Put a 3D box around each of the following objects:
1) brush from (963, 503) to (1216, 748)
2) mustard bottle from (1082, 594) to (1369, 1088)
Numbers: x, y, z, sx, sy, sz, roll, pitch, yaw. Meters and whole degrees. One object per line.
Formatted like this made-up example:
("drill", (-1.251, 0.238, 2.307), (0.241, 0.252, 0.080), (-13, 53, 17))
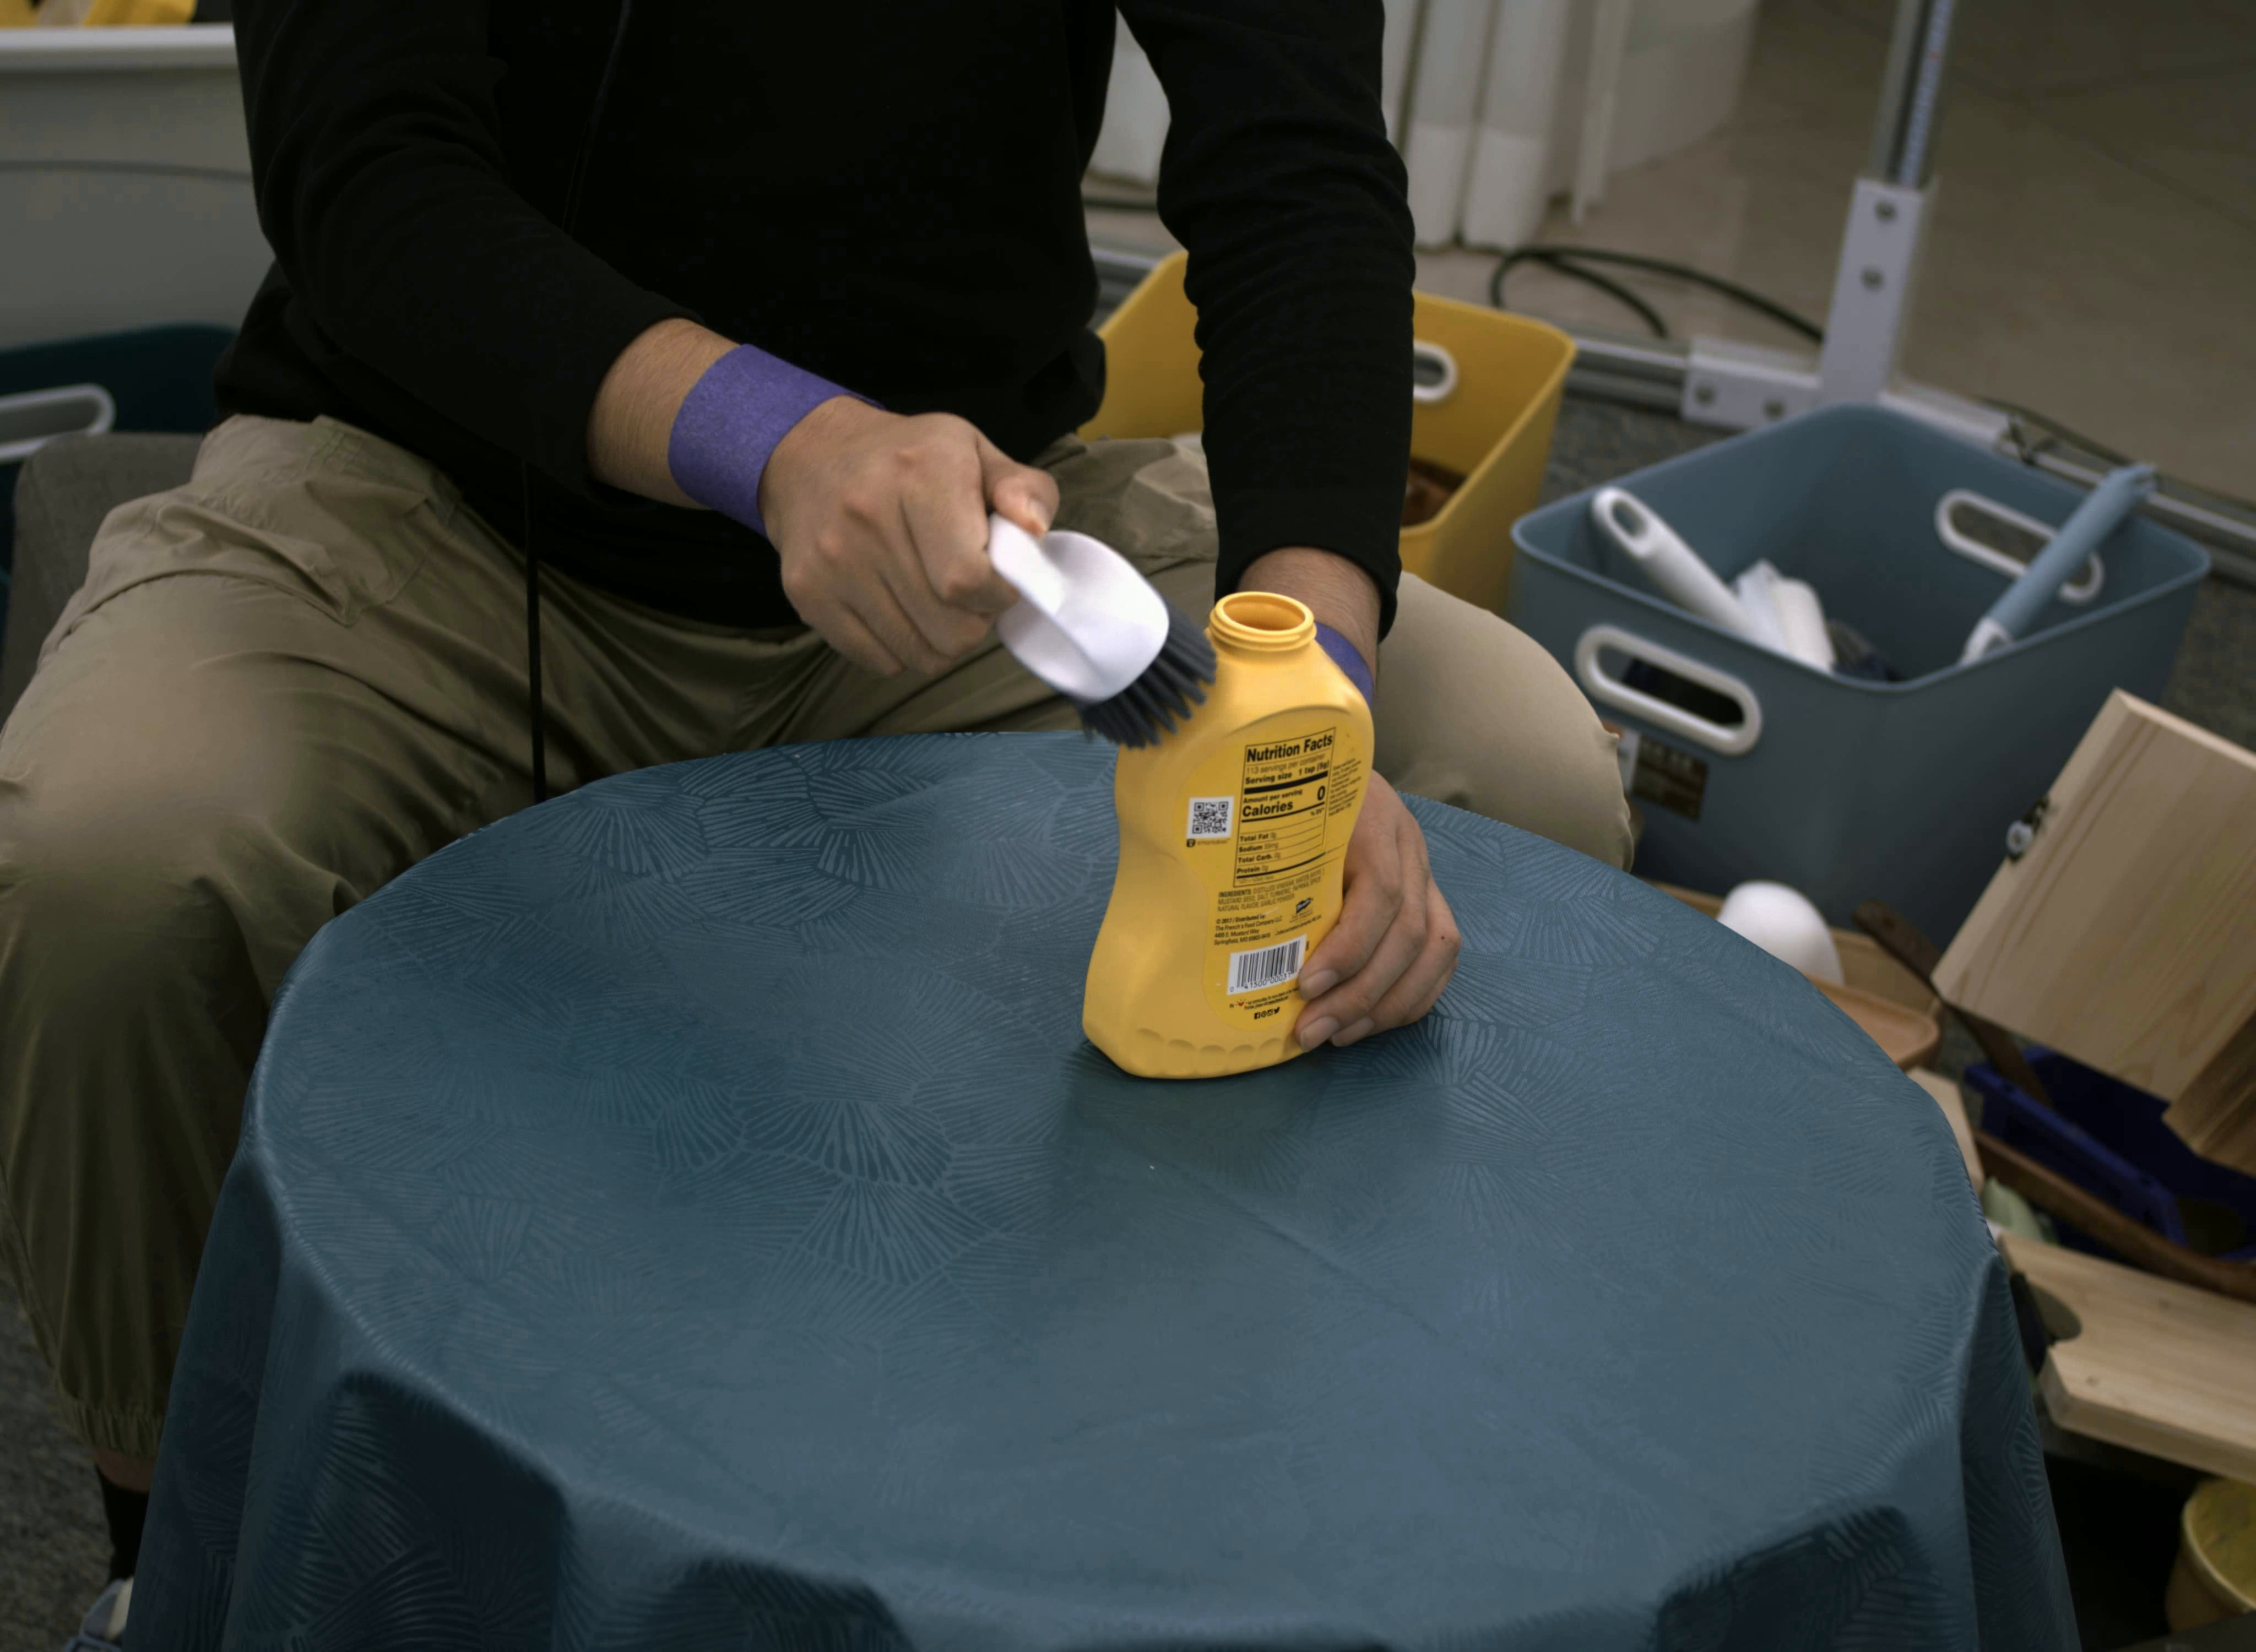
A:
("brush", (-0.021, -0.076, 1.802), (0.072, 0.050, 0.100), (43, 1, -33))
("mustard bottle", (0.036, 0.004, 1.860), (0.097, 0.171, 0.060), (-13, 29, -32))
